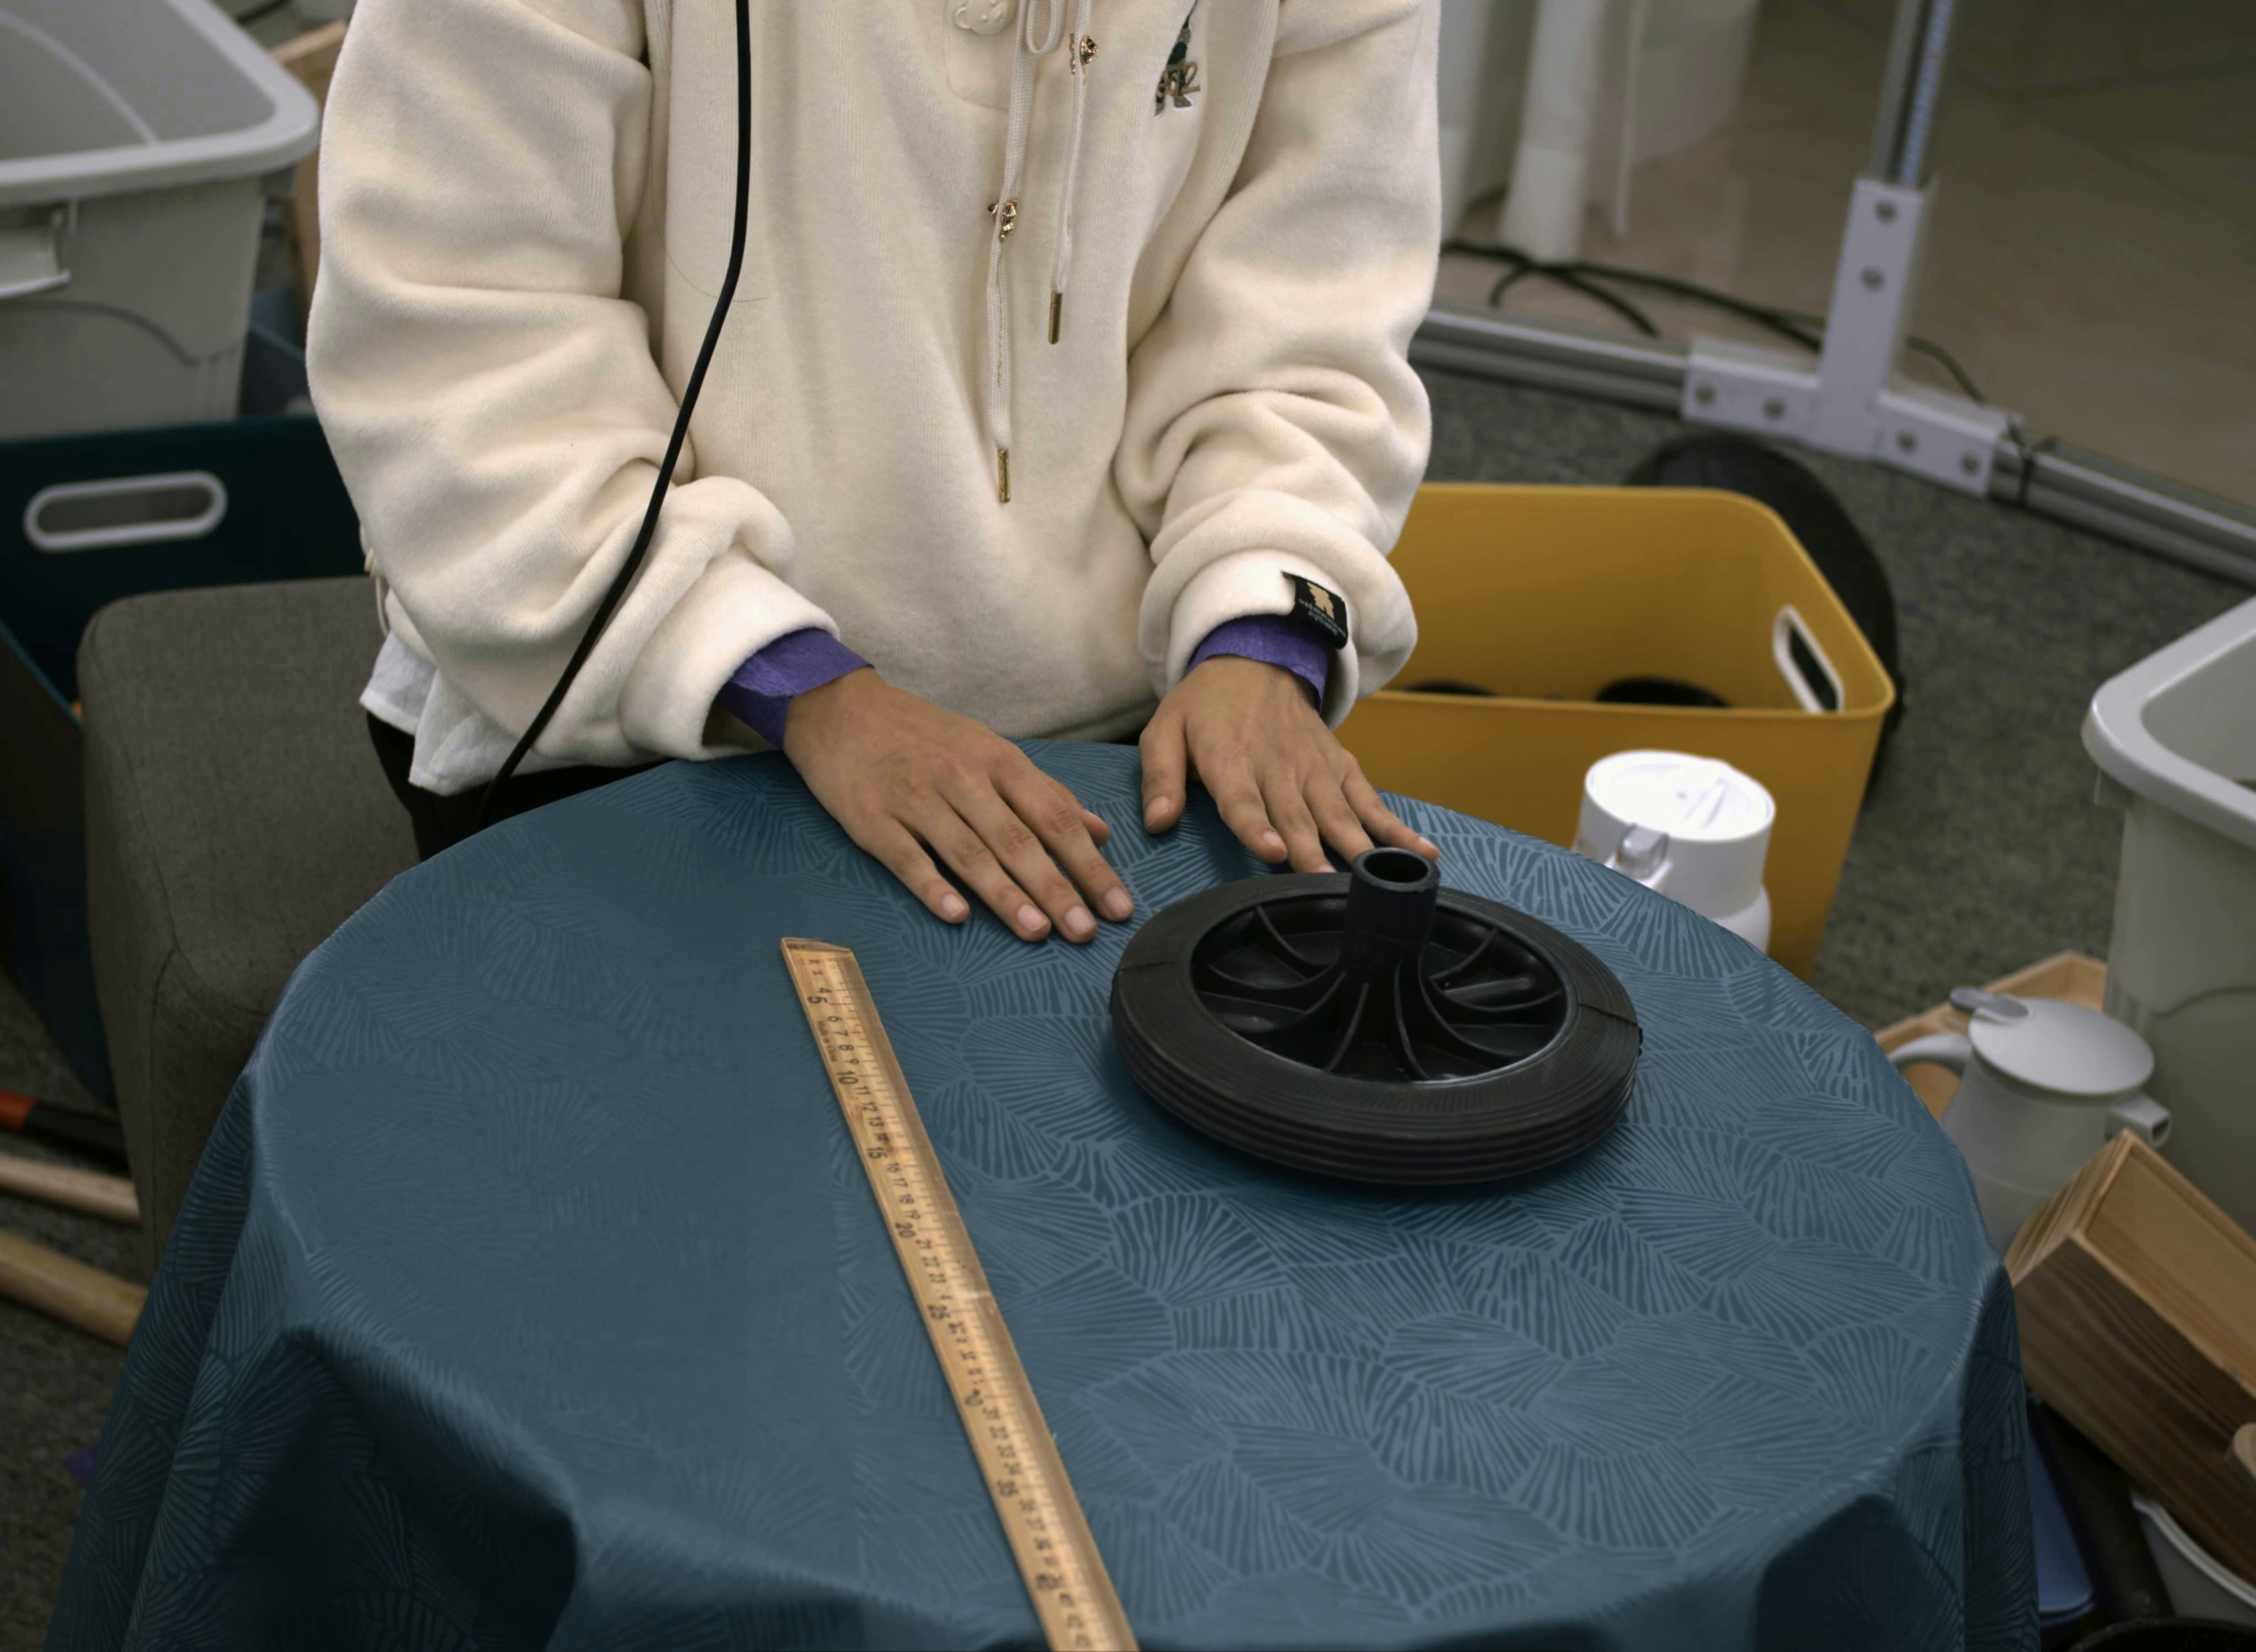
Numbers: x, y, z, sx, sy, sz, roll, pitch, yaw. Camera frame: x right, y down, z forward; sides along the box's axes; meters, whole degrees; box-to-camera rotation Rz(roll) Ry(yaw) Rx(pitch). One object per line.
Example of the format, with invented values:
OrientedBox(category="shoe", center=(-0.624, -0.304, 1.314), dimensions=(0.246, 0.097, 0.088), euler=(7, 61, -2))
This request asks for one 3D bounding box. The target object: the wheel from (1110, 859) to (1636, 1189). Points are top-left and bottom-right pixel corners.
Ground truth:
OrientedBox(category="wheel", center=(0.089, 0.053, 1.876), dimensions=(0.188, 0.079, 0.189), euler=(25, 33, 32))

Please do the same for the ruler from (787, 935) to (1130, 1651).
OrientedBox(category="ruler", center=(-0.055, 0.158, 1.717), dimensions=(0.026, 0.006, 0.504), euler=(-2, 28, -14))
